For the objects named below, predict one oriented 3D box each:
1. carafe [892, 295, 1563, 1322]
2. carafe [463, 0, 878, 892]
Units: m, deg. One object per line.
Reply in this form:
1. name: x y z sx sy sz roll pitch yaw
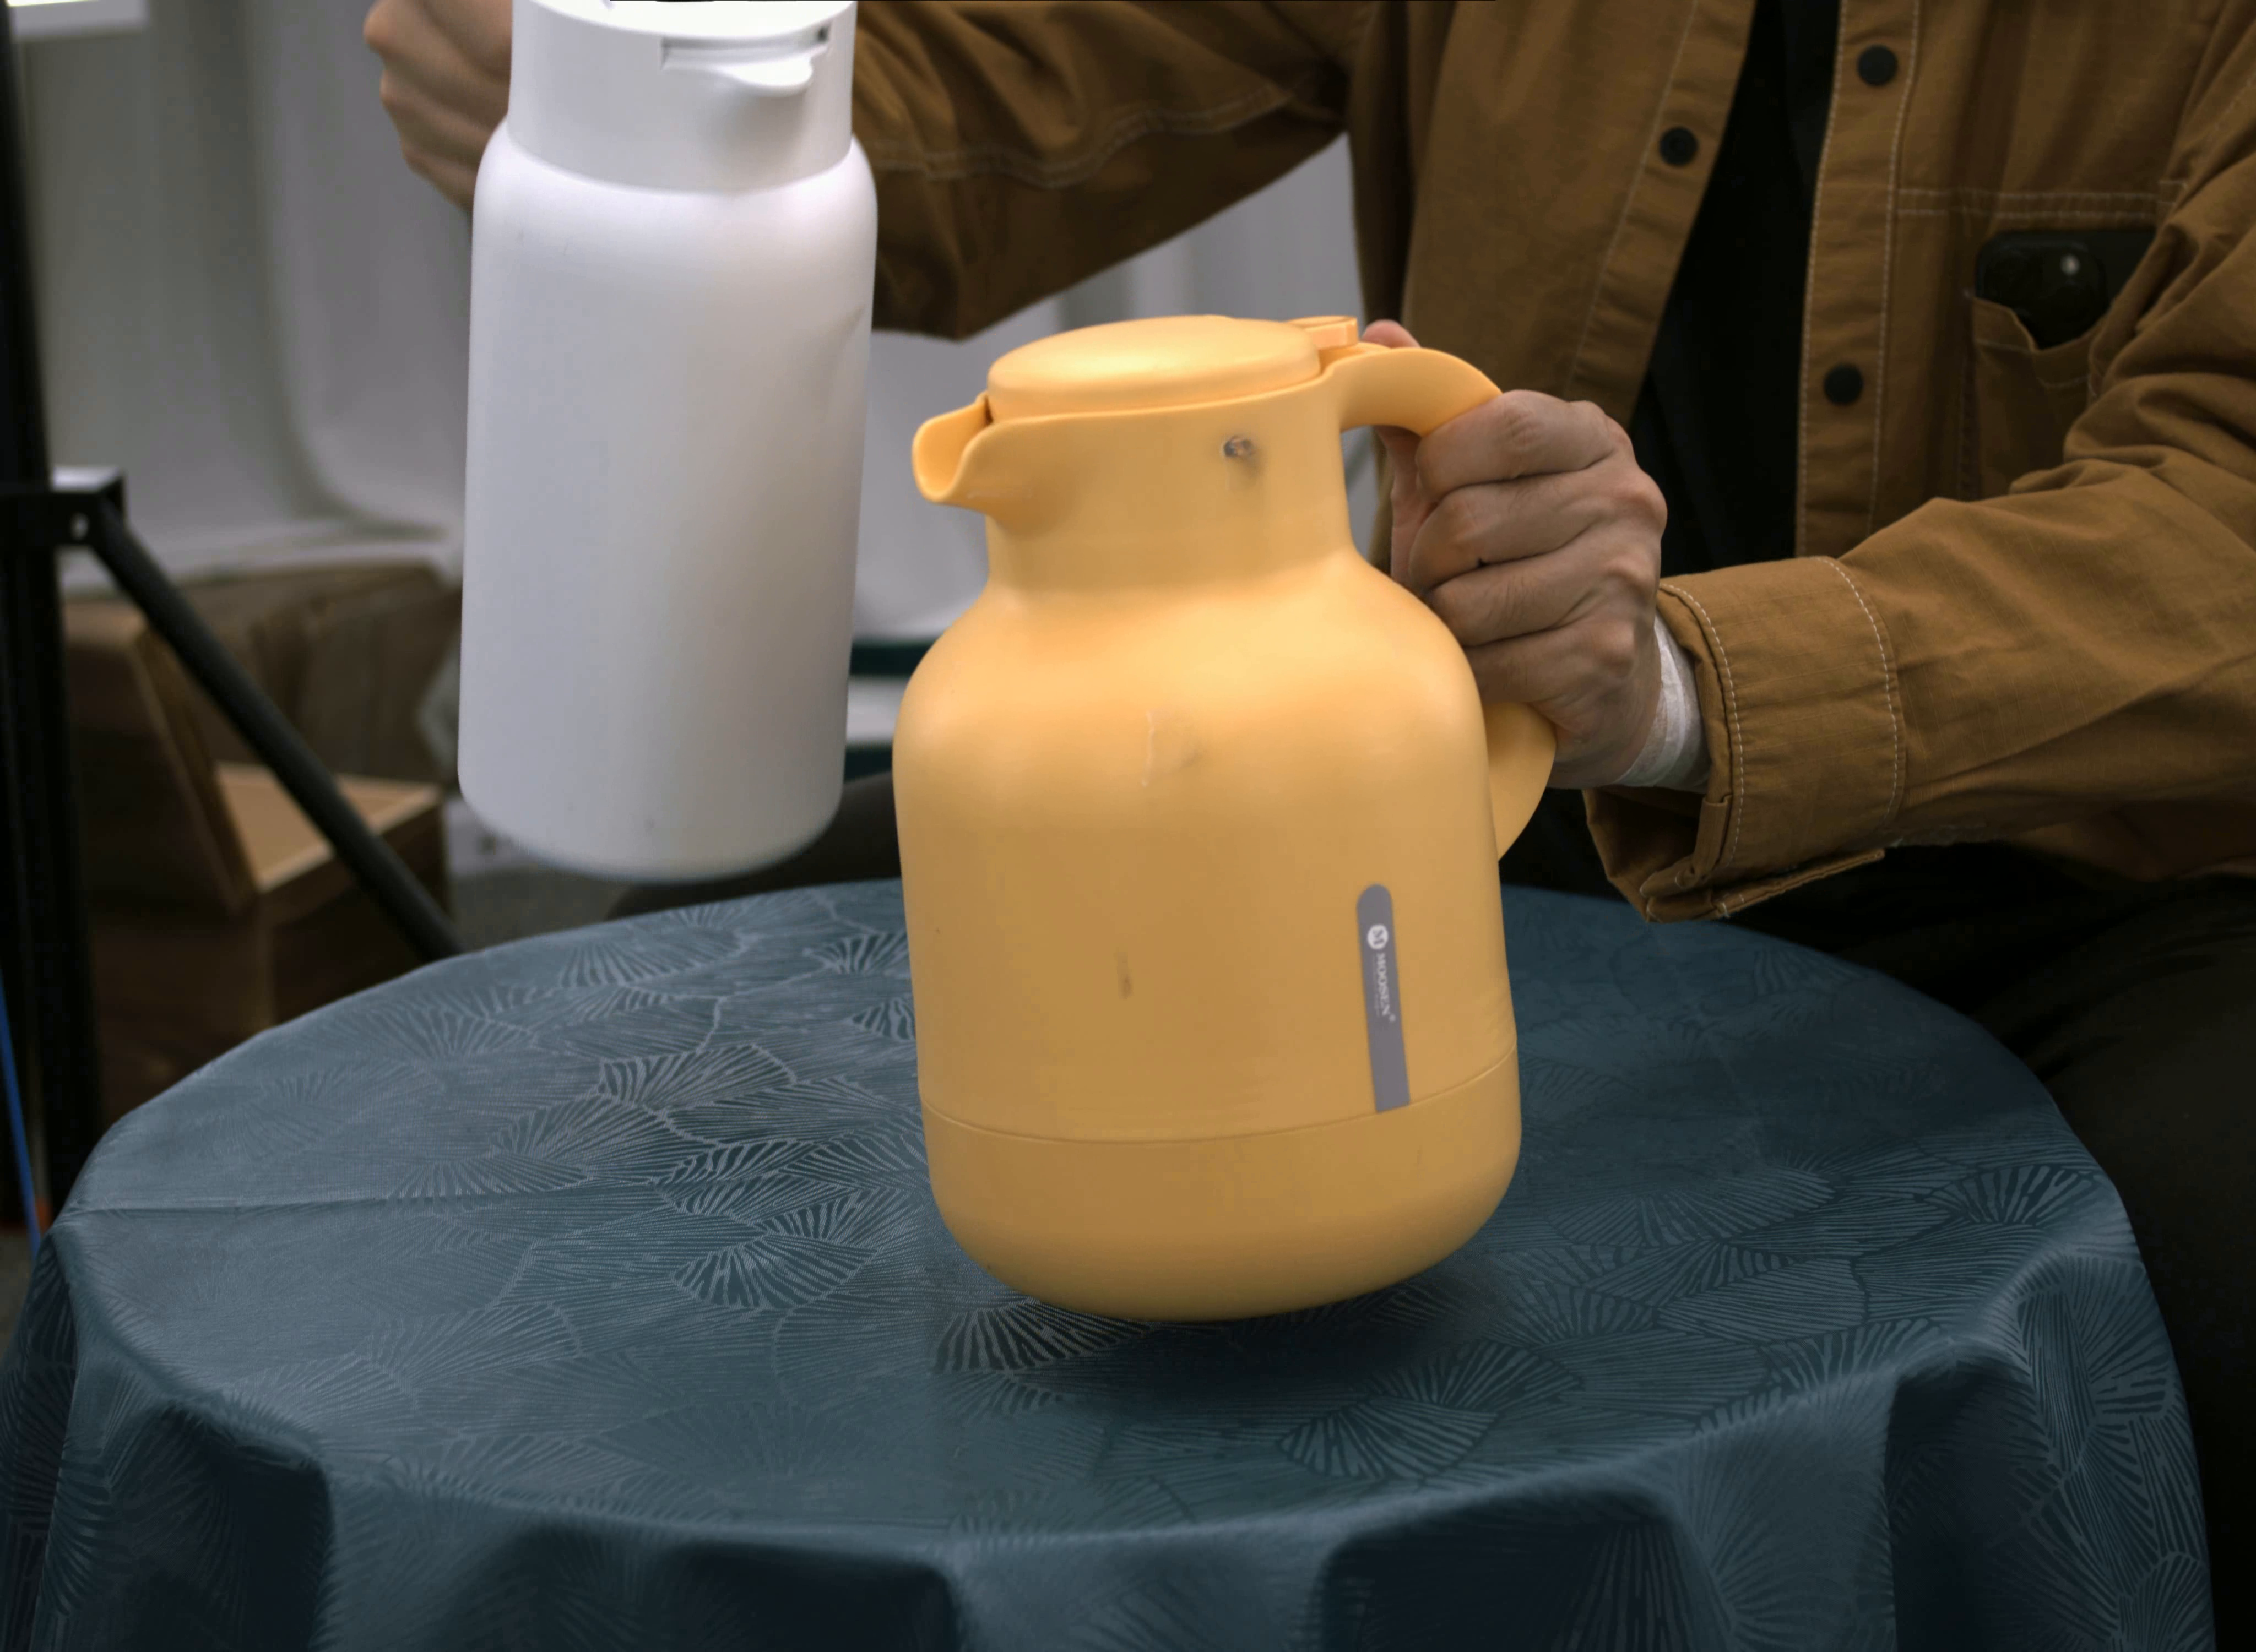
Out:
1. carafe: 0.035 -0.012 1.431 0.198 0.260 0.167 -14 17 -30
2. carafe: -0.144 -0.129 1.585 0.121 0.268 0.177 -12 29 -26
